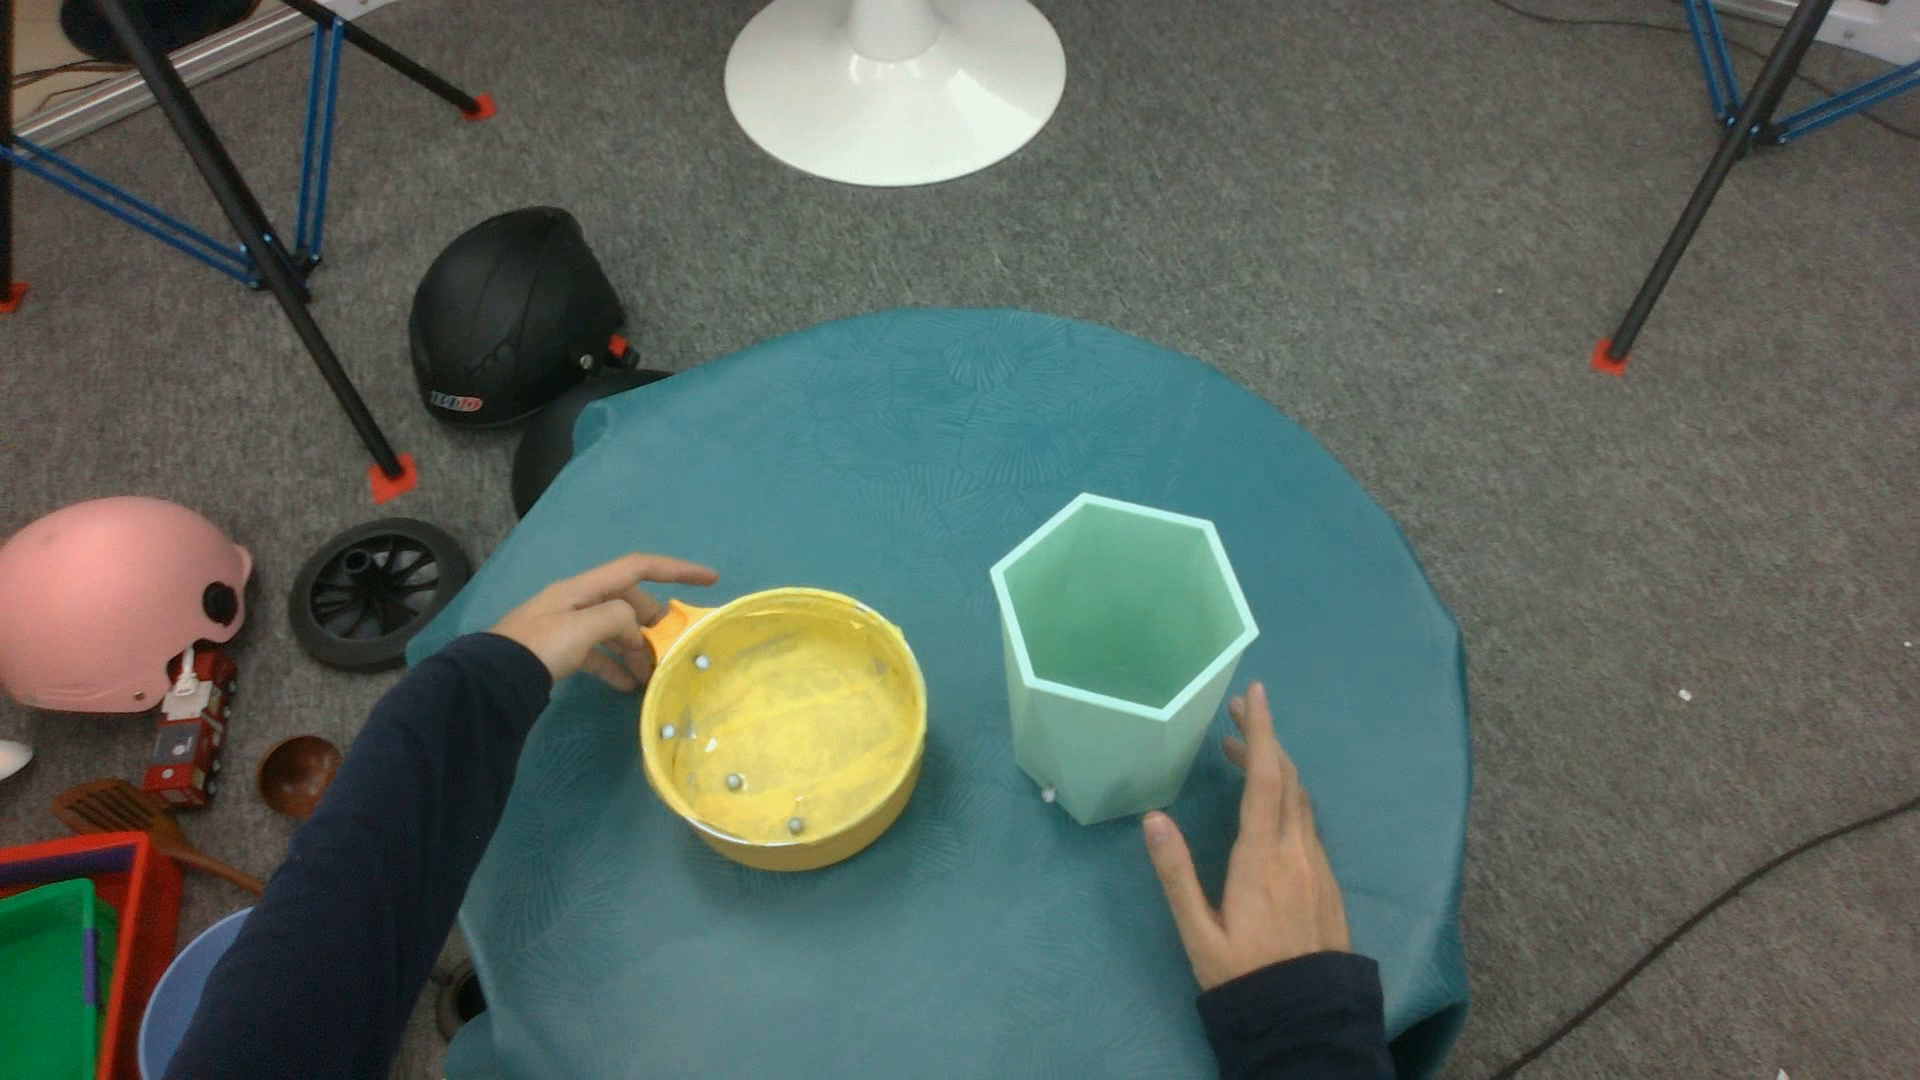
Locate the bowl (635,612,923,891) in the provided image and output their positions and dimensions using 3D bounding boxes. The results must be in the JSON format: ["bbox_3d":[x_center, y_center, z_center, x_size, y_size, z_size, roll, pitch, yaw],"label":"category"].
[{"bbox_3d":[-0.106,0.113,0.776,0.179,0.074,0.153,29,62,19],"label":"bowl"}]

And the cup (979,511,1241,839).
[{"bbox_3d":[0.075,0.080,0.734,0.131,0.162,0.116,11,57,10],"label":"cup"}]
